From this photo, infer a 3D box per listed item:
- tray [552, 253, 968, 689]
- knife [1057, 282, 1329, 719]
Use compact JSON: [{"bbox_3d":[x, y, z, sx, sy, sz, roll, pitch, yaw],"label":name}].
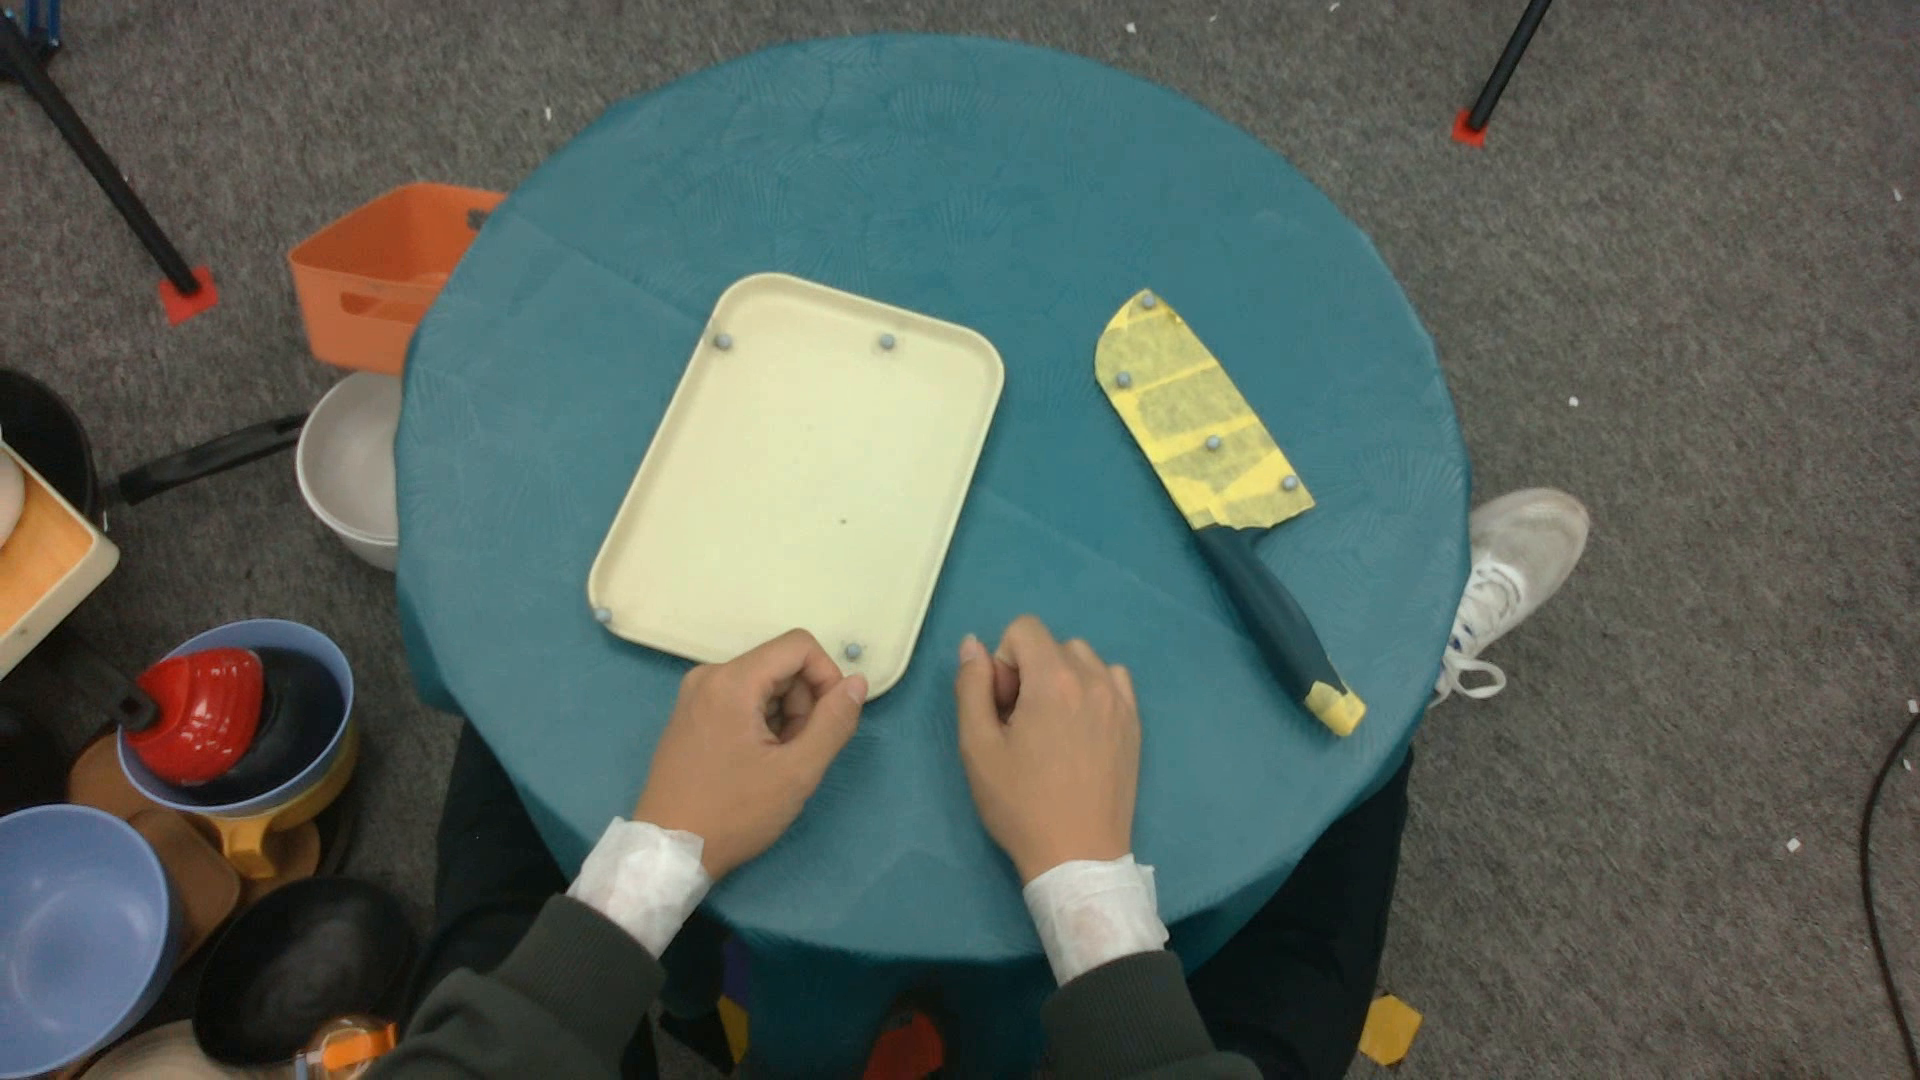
[{"bbox_3d":[-0.101,-0.043,0.743,0.171,0.017,0.240,17,63,1],"label":"tray"},{"bbox_3d":[0.135,-0.033,0.770,0.081,0.027,0.290,-20,67,-14],"label":"knife"}]
